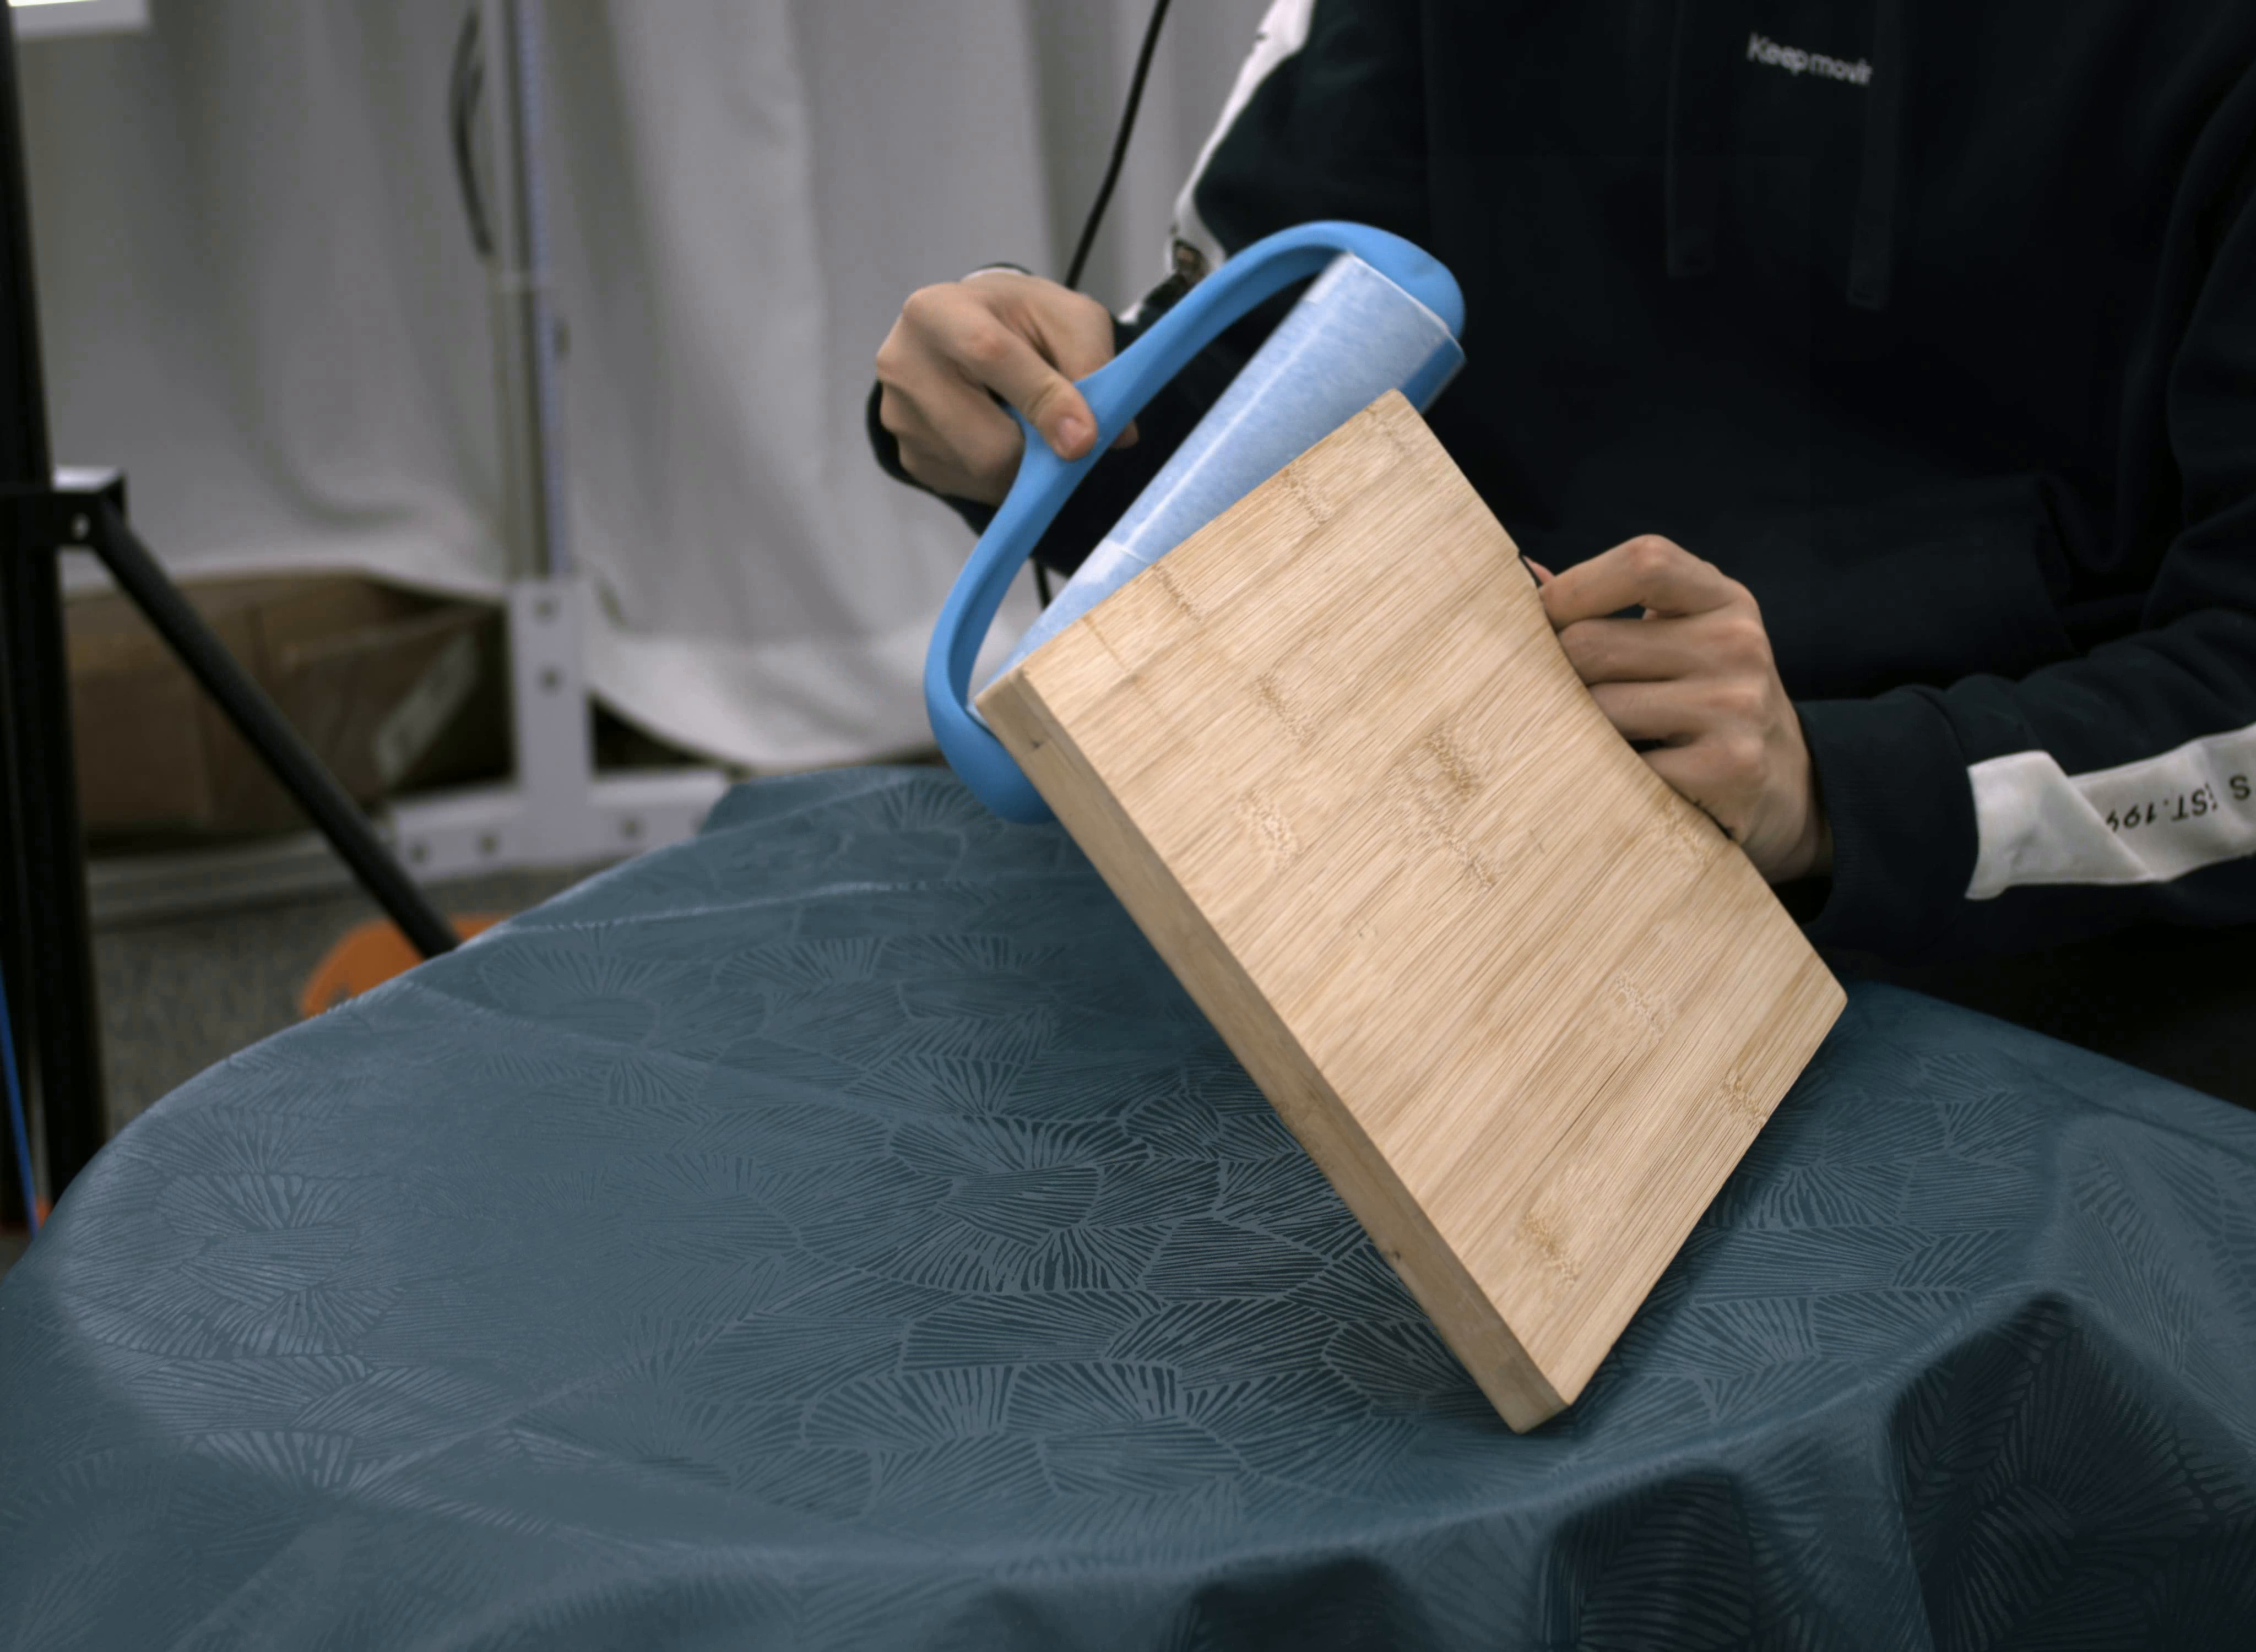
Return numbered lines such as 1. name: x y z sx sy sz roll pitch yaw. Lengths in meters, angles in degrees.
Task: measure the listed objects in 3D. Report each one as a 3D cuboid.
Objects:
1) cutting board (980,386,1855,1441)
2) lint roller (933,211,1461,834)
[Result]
1. cutting board: 0.093 0.011 1.512 0.024 0.251 0.345 -36 2 26
2. lint roller: -0.005 -0.114 1.751 0.066 0.229 0.184 37 -4 -39
